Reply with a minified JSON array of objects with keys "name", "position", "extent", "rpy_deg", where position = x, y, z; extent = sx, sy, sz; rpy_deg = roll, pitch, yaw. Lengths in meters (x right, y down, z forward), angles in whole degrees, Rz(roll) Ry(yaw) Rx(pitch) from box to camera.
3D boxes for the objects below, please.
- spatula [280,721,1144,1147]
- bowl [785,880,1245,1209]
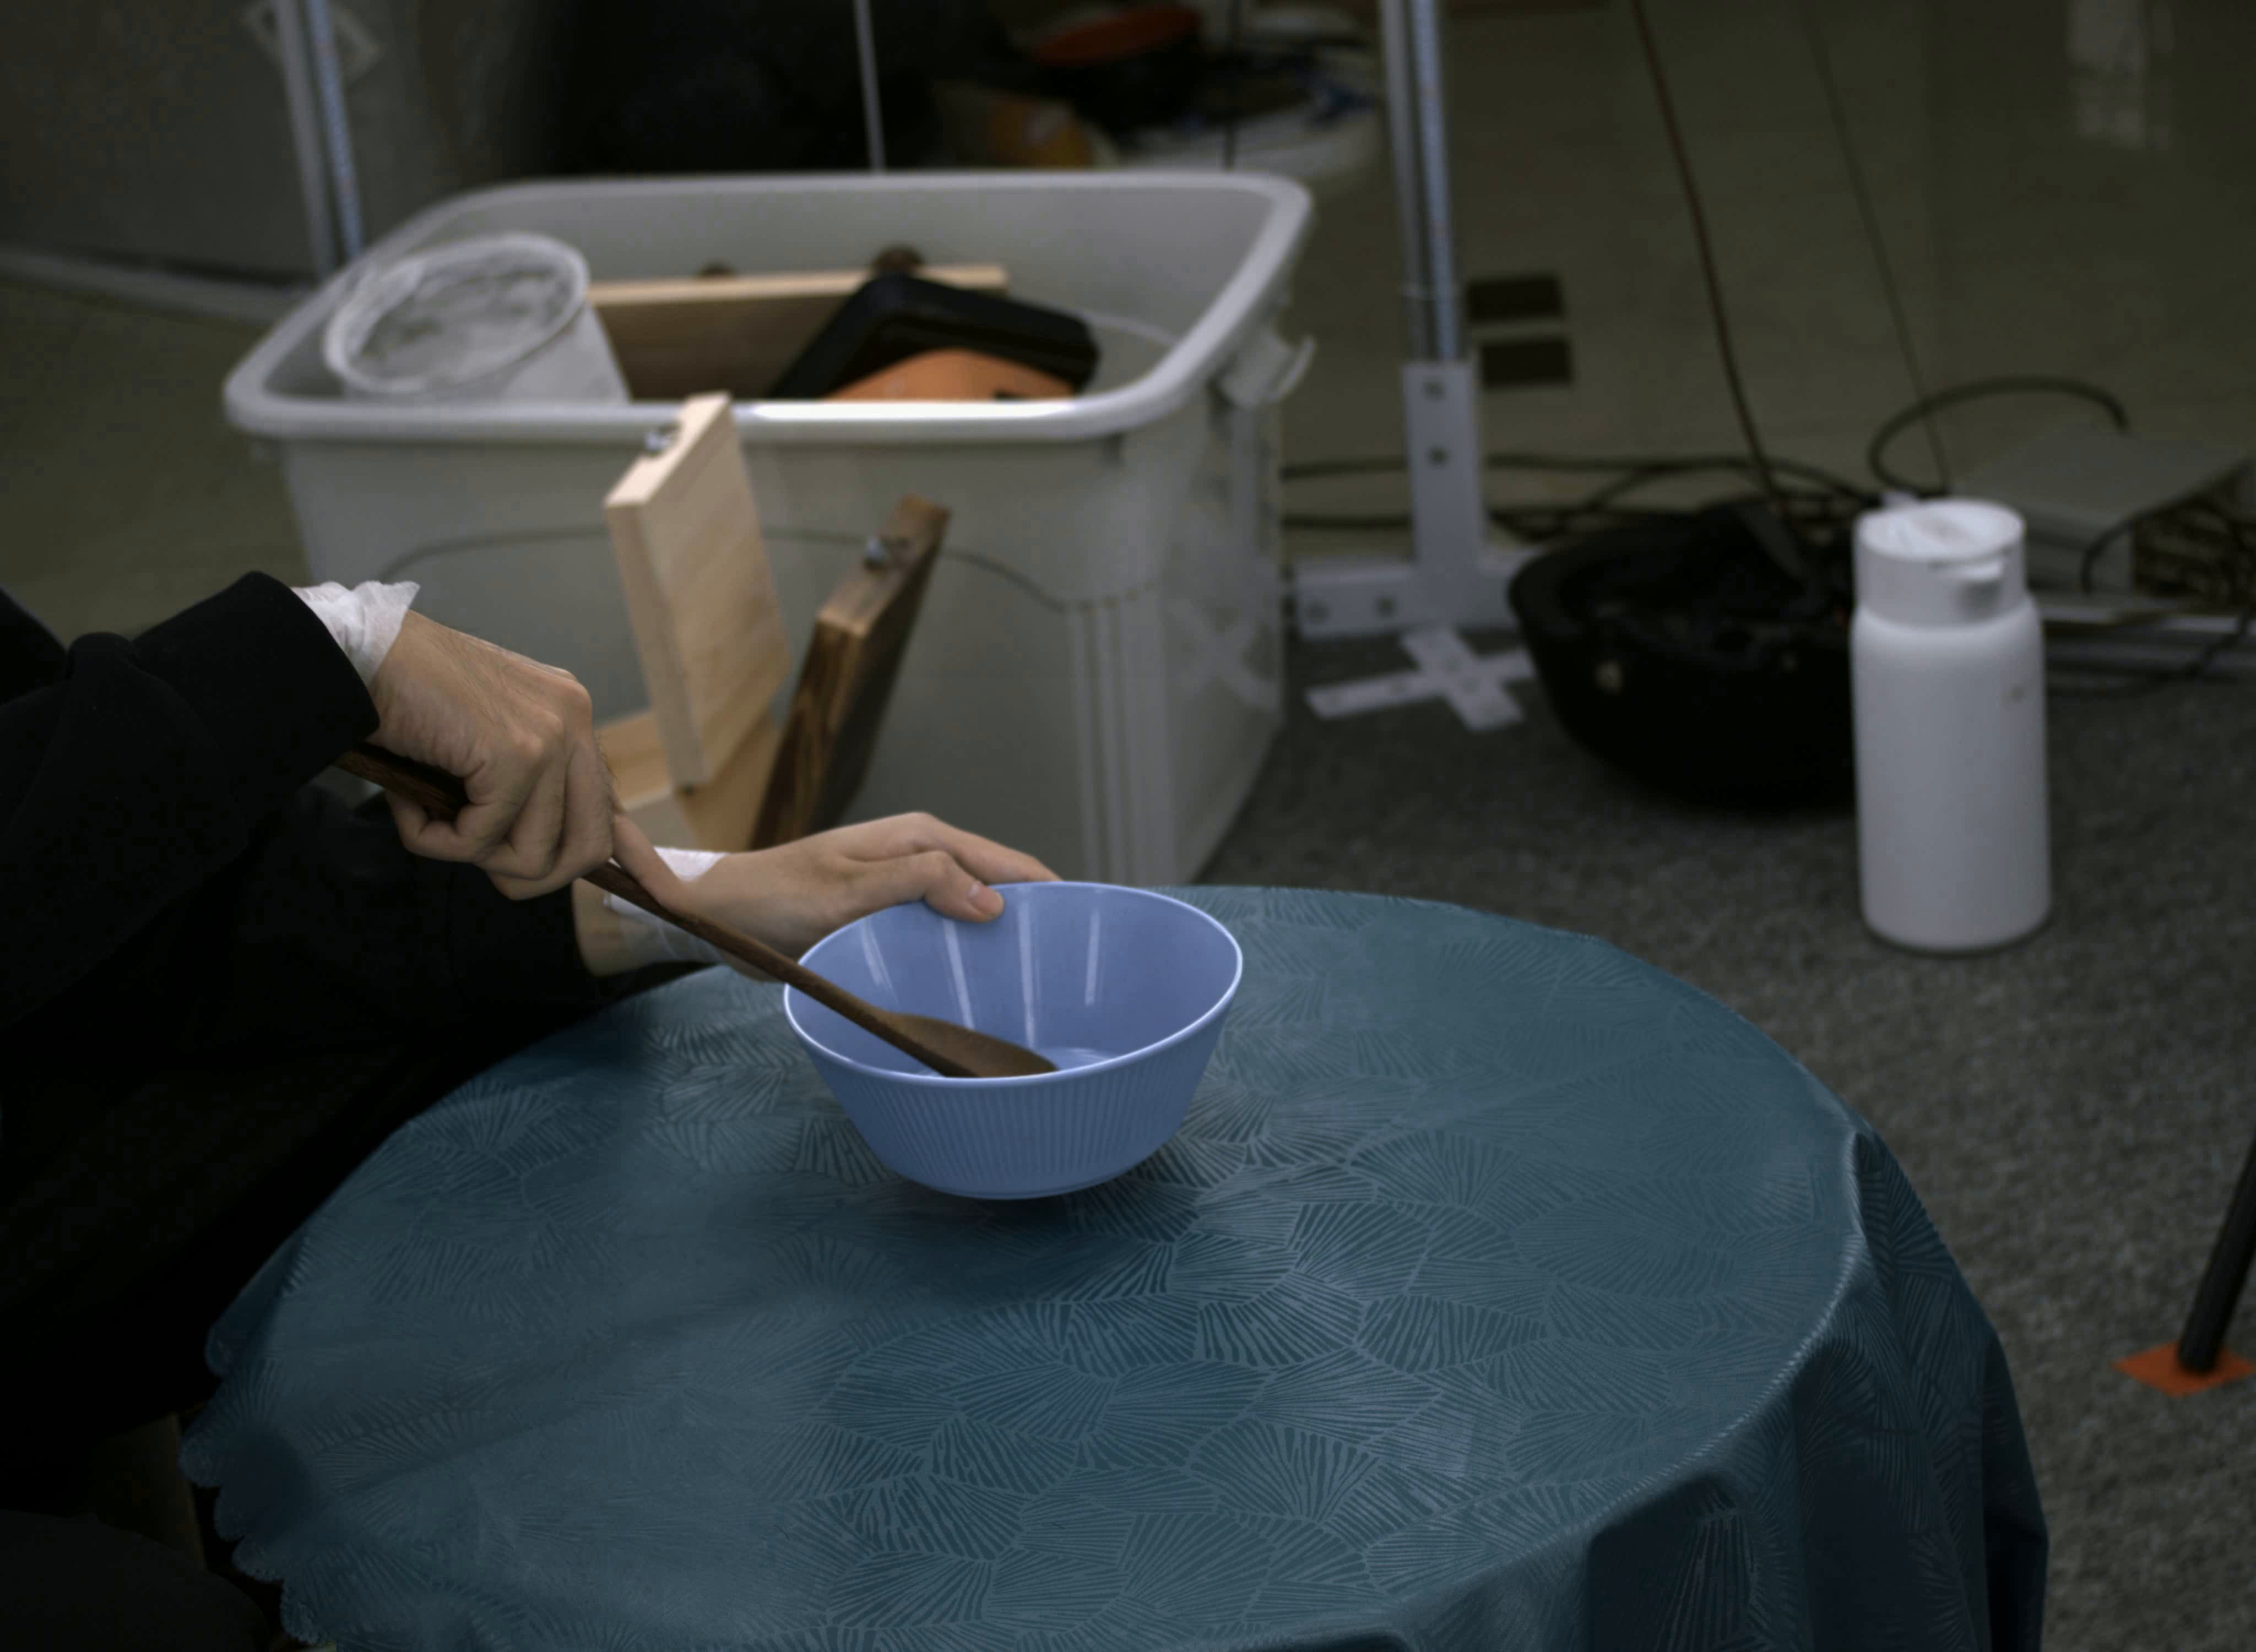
[{"name":"spatula","position":[-0.148,0.039,2.060],"extent":[0.389,0.016,0.095],"rpy_deg":[28,7,-35]},{"name":"bowl","position":[-0.040,0.089,2.159],"extent":[0.176,0.071,0.173],"rpy_deg":[-5,27,2]}]
